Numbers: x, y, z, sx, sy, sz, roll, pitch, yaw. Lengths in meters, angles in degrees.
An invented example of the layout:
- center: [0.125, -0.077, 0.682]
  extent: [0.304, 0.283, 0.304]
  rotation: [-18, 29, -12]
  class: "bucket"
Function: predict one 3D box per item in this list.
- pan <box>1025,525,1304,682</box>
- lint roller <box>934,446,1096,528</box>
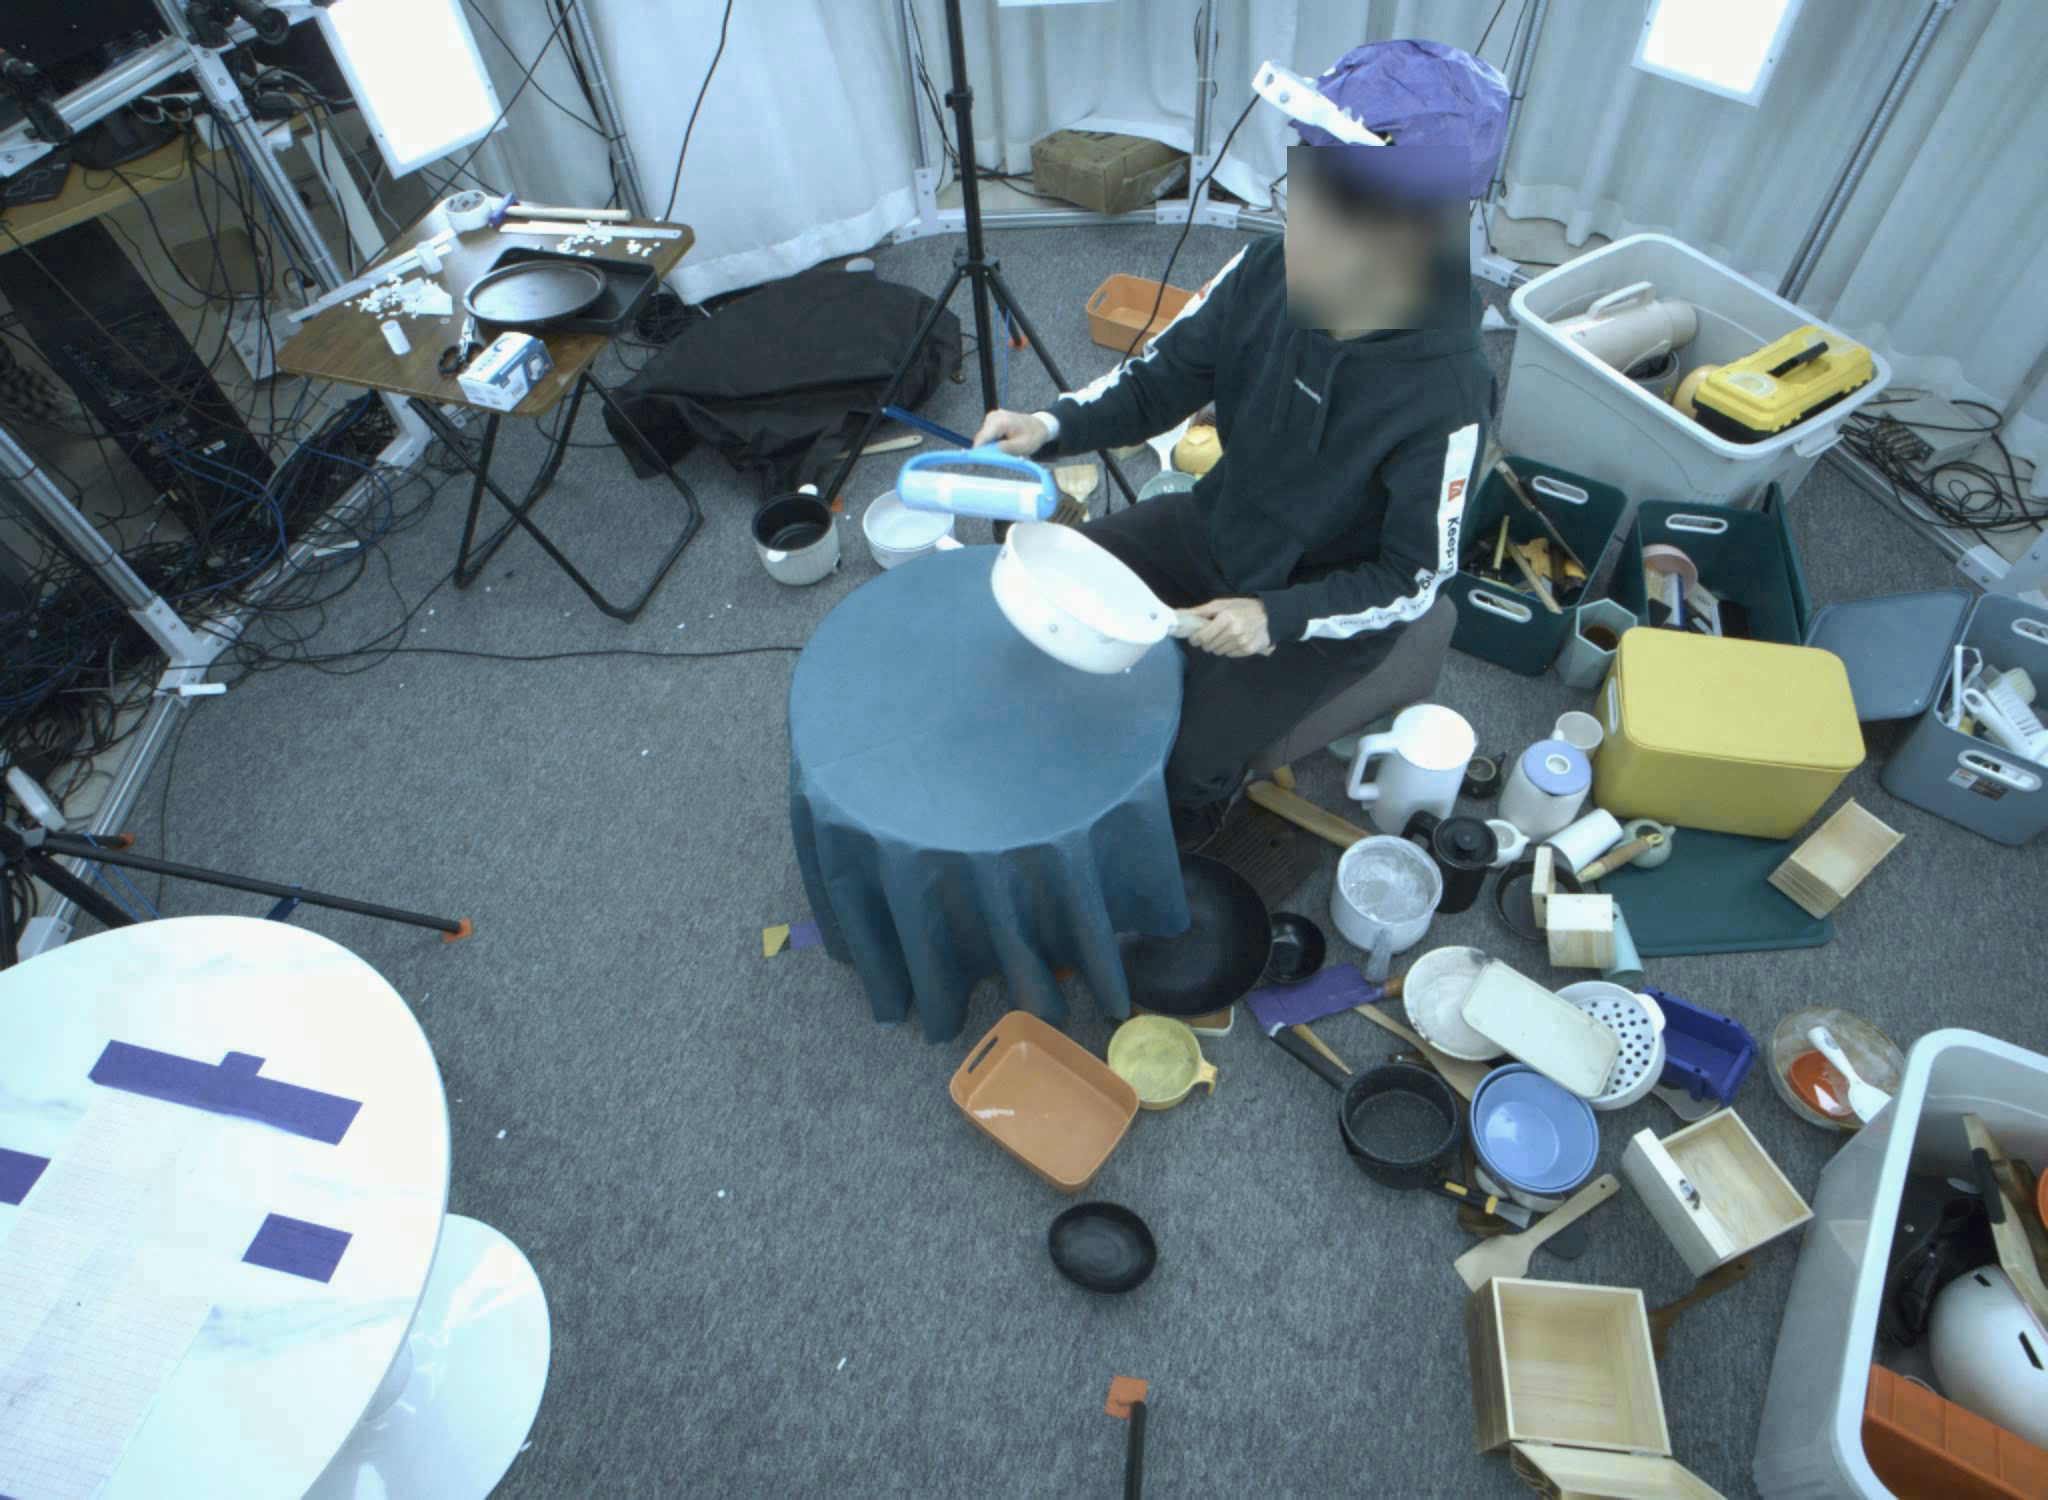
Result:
- center: [0.192, -0.165, 1.676]
  extent: [0.444, 0.101, 0.259]
  rotation: [20, 33, -28]
  class: "pan"
- center: [0.000, -0.379, 1.674]
  extent: [0.226, 0.069, 0.179]
  rotation: [7, 51, 16]
  class: "lint roller"
